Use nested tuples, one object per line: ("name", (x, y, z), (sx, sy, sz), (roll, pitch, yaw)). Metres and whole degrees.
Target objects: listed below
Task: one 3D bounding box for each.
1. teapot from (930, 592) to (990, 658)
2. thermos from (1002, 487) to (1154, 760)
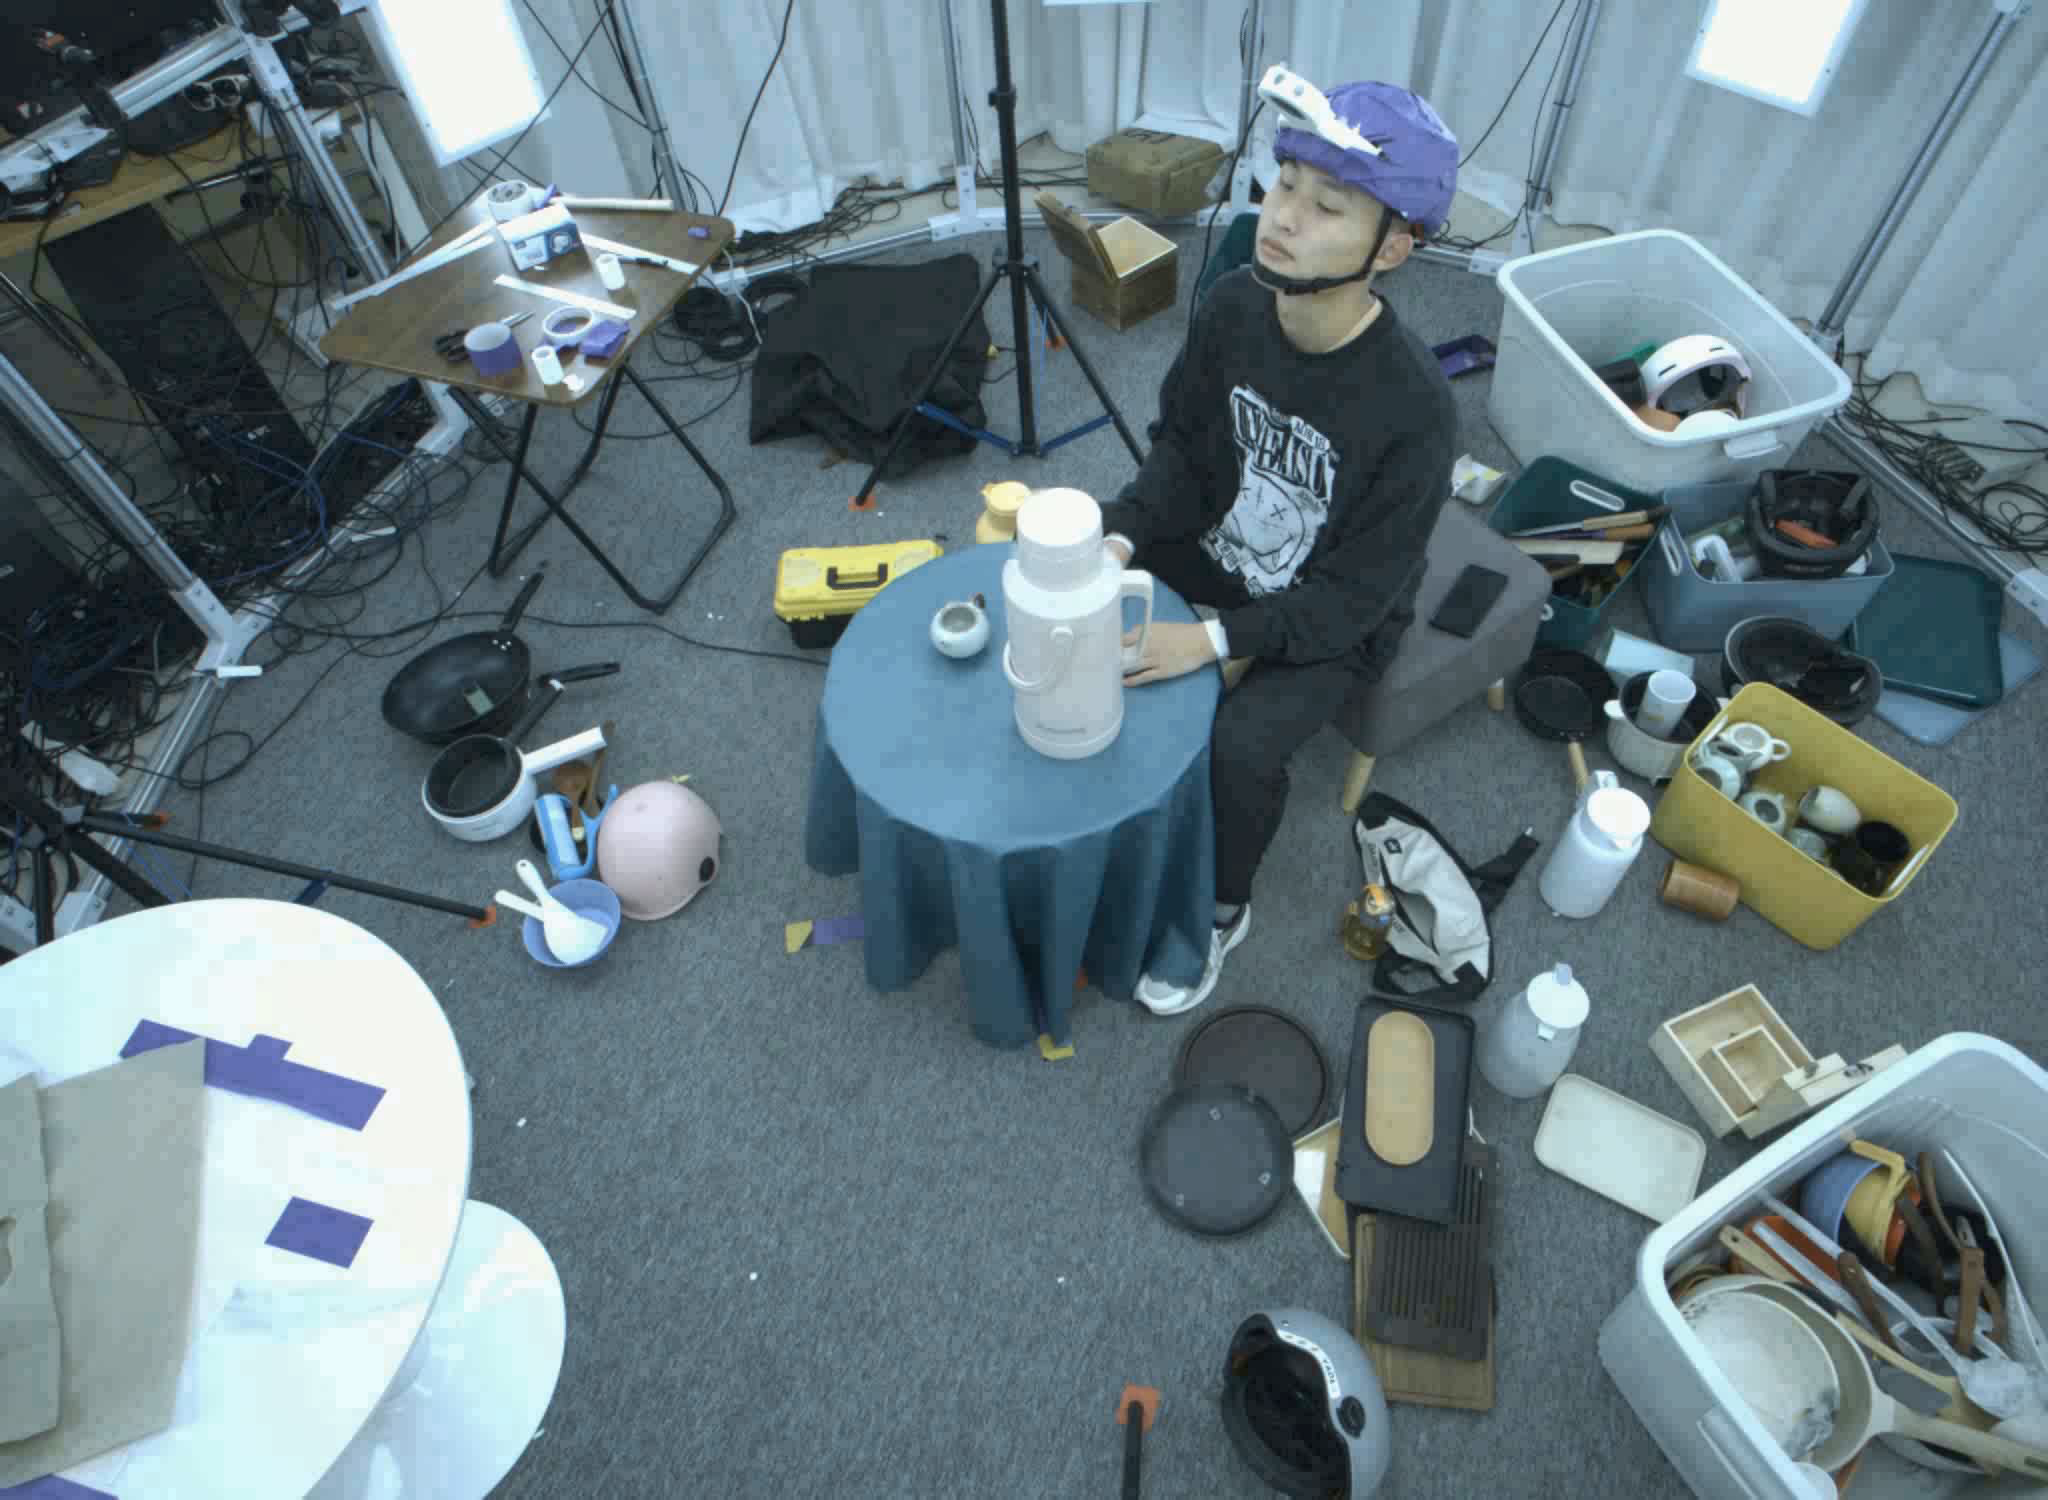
("teapot", (-0.095, -0.191, 1.886), (0.090, 0.060, 0.128), (17, 58, 18))
("thermos", (0.070, -0.165, 1.654), (0.207, 0.411, 0.173), (-2, 53, 3))
